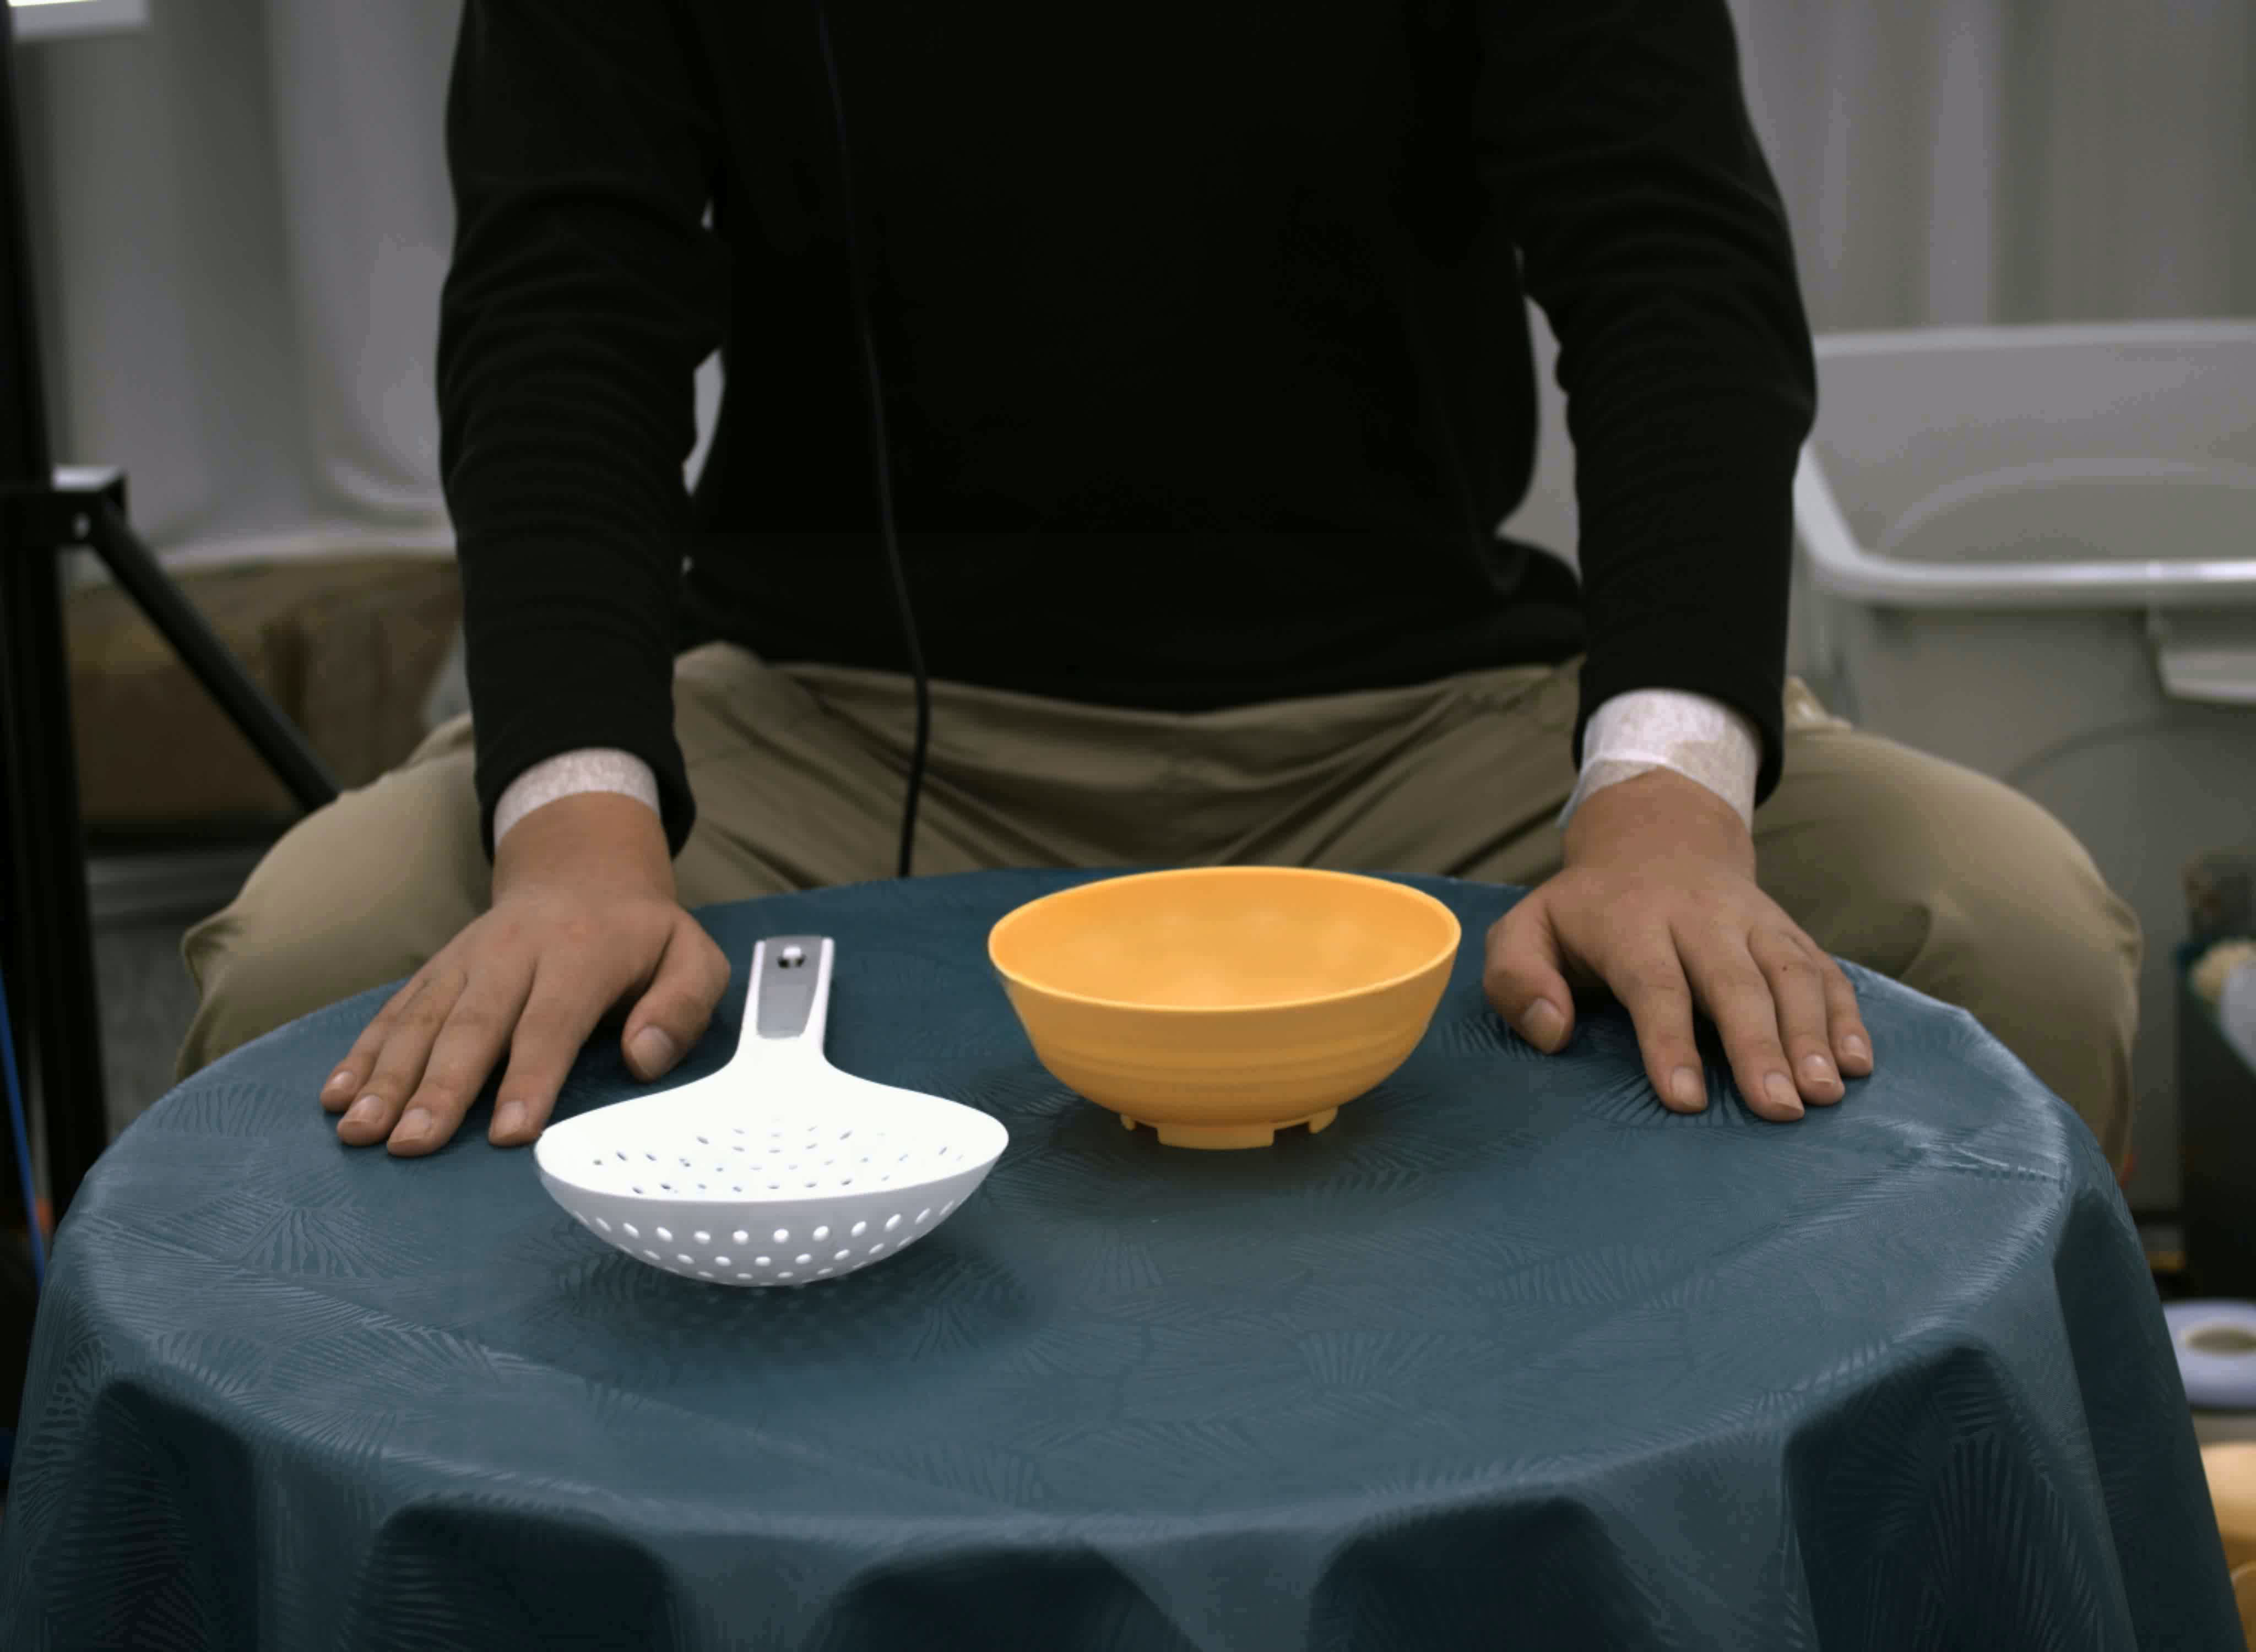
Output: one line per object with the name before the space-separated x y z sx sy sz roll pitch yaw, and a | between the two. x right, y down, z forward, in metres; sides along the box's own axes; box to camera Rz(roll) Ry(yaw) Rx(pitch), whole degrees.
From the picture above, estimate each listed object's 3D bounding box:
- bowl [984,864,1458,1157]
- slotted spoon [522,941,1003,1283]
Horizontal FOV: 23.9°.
bowl | 0.028 0.062 1.615 0.144 0.060 0.146 -1 17 -1
slotted spoon | -0.106 0.076 1.603 0.135 0.046 0.351 -2 15 -1
